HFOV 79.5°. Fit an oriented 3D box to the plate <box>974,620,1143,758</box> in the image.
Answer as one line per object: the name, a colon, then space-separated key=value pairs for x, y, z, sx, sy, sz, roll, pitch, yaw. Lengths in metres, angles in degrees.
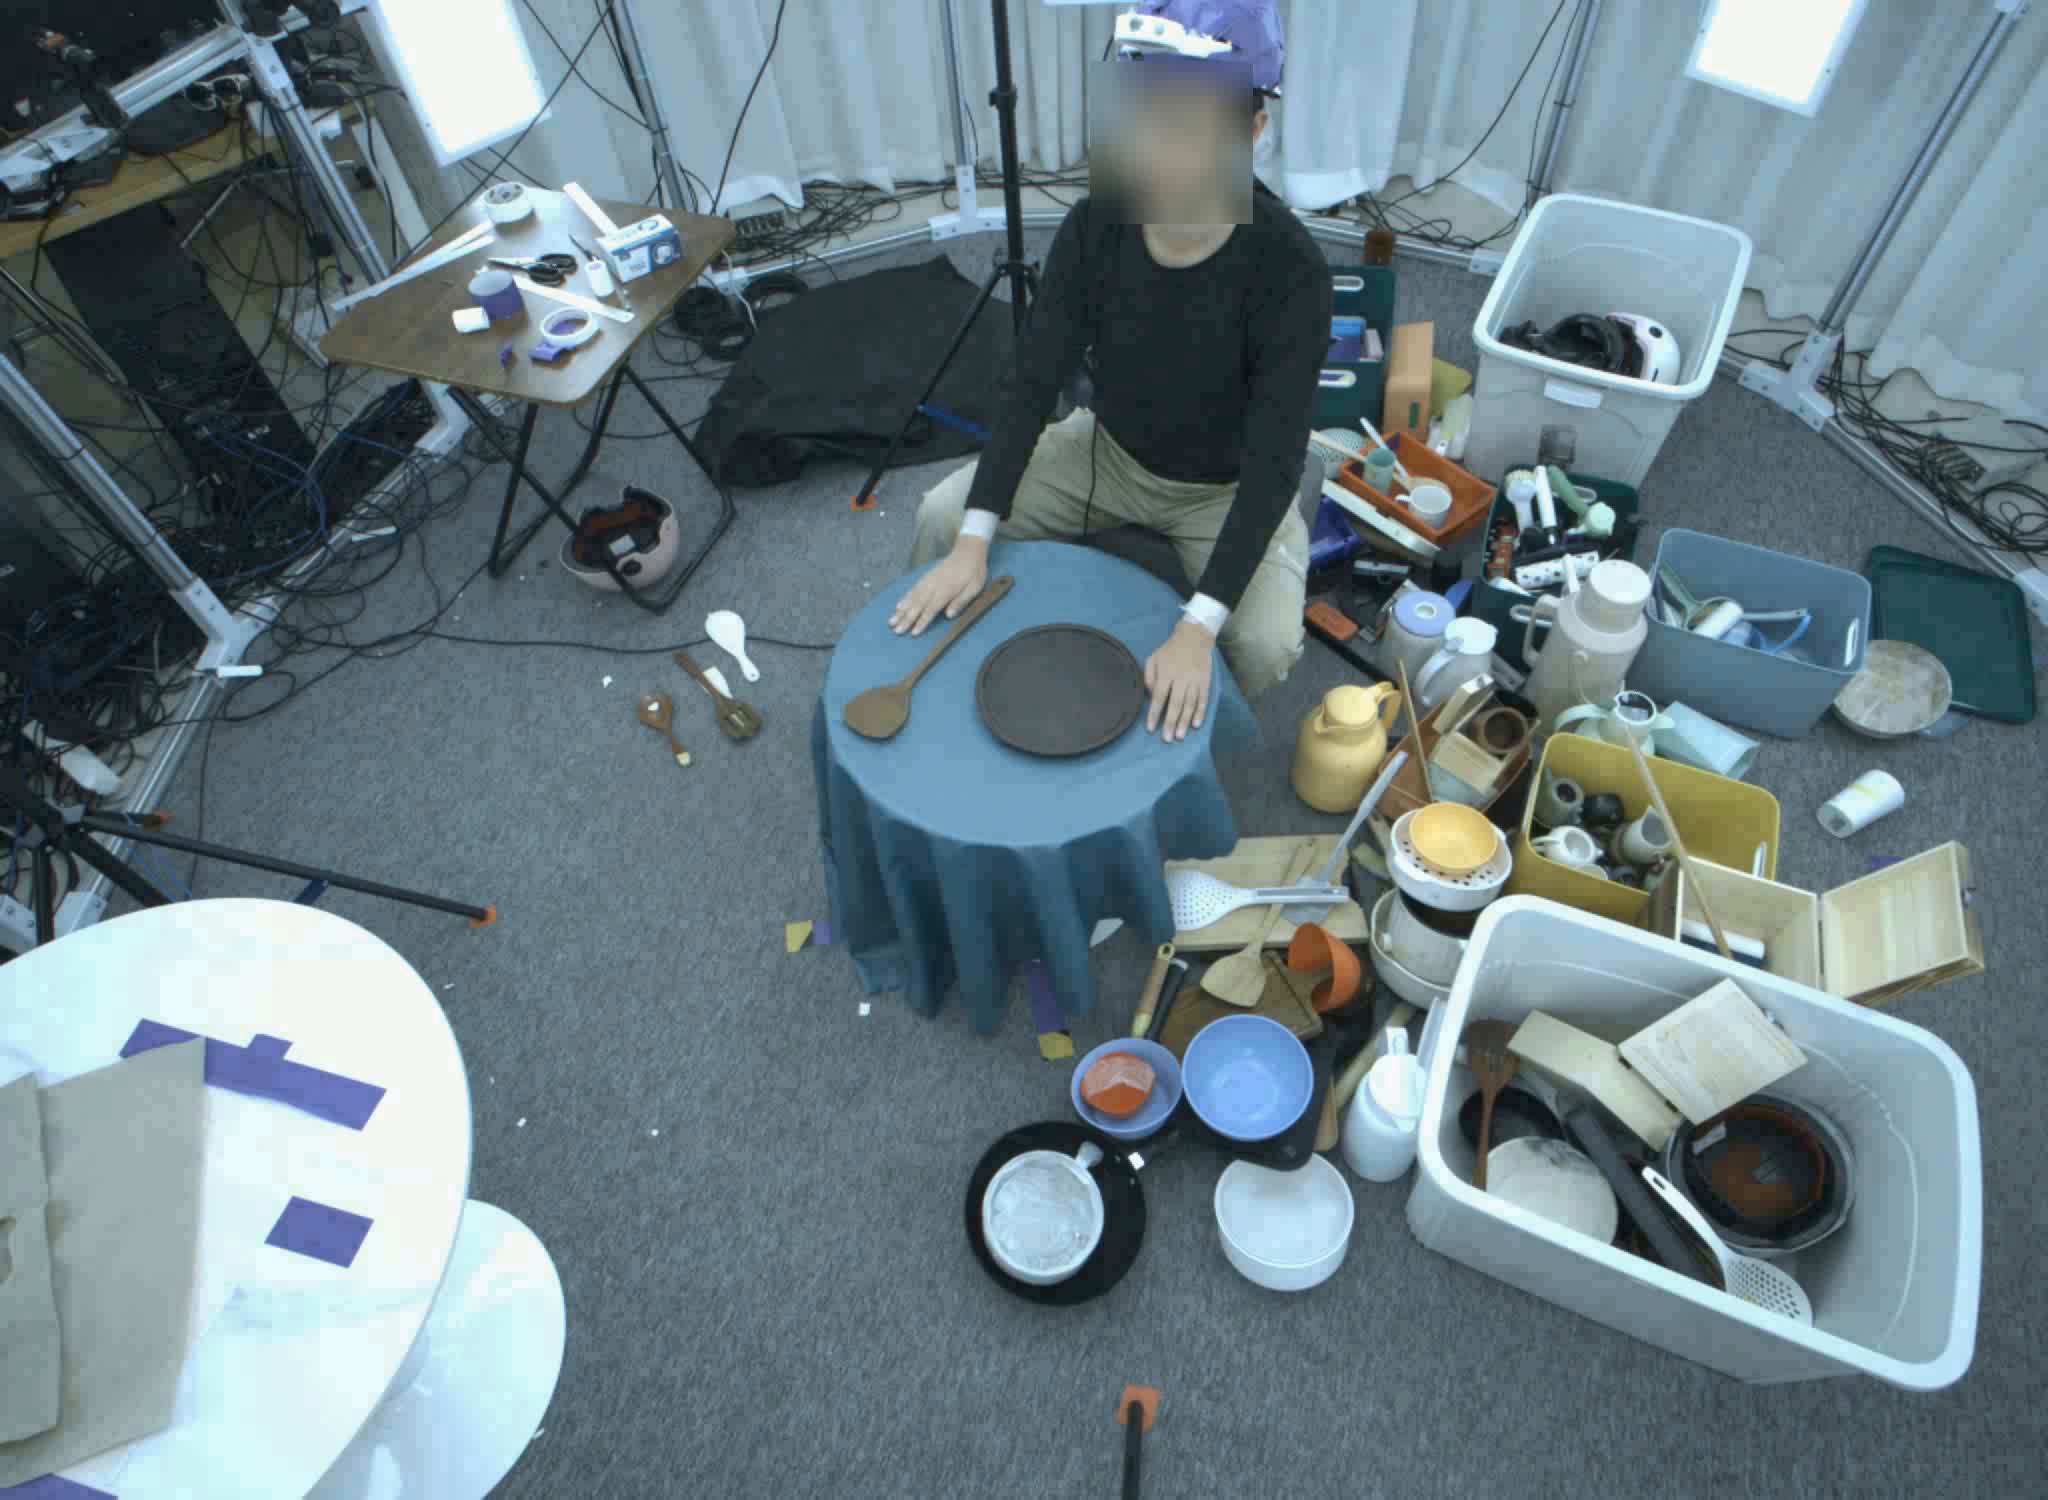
plate: x=0.052 y=-0.092 z=1.838 sx=0.254 sy=0.029 sz=0.252 roll=-1 pitch=55 yaw=3

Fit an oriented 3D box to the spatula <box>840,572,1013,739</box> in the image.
spatula: x=-0.135 y=-0.156 z=1.894 sx=0.094 sy=0.016 sz=0.387 roll=29 pitch=61 yaw=20
